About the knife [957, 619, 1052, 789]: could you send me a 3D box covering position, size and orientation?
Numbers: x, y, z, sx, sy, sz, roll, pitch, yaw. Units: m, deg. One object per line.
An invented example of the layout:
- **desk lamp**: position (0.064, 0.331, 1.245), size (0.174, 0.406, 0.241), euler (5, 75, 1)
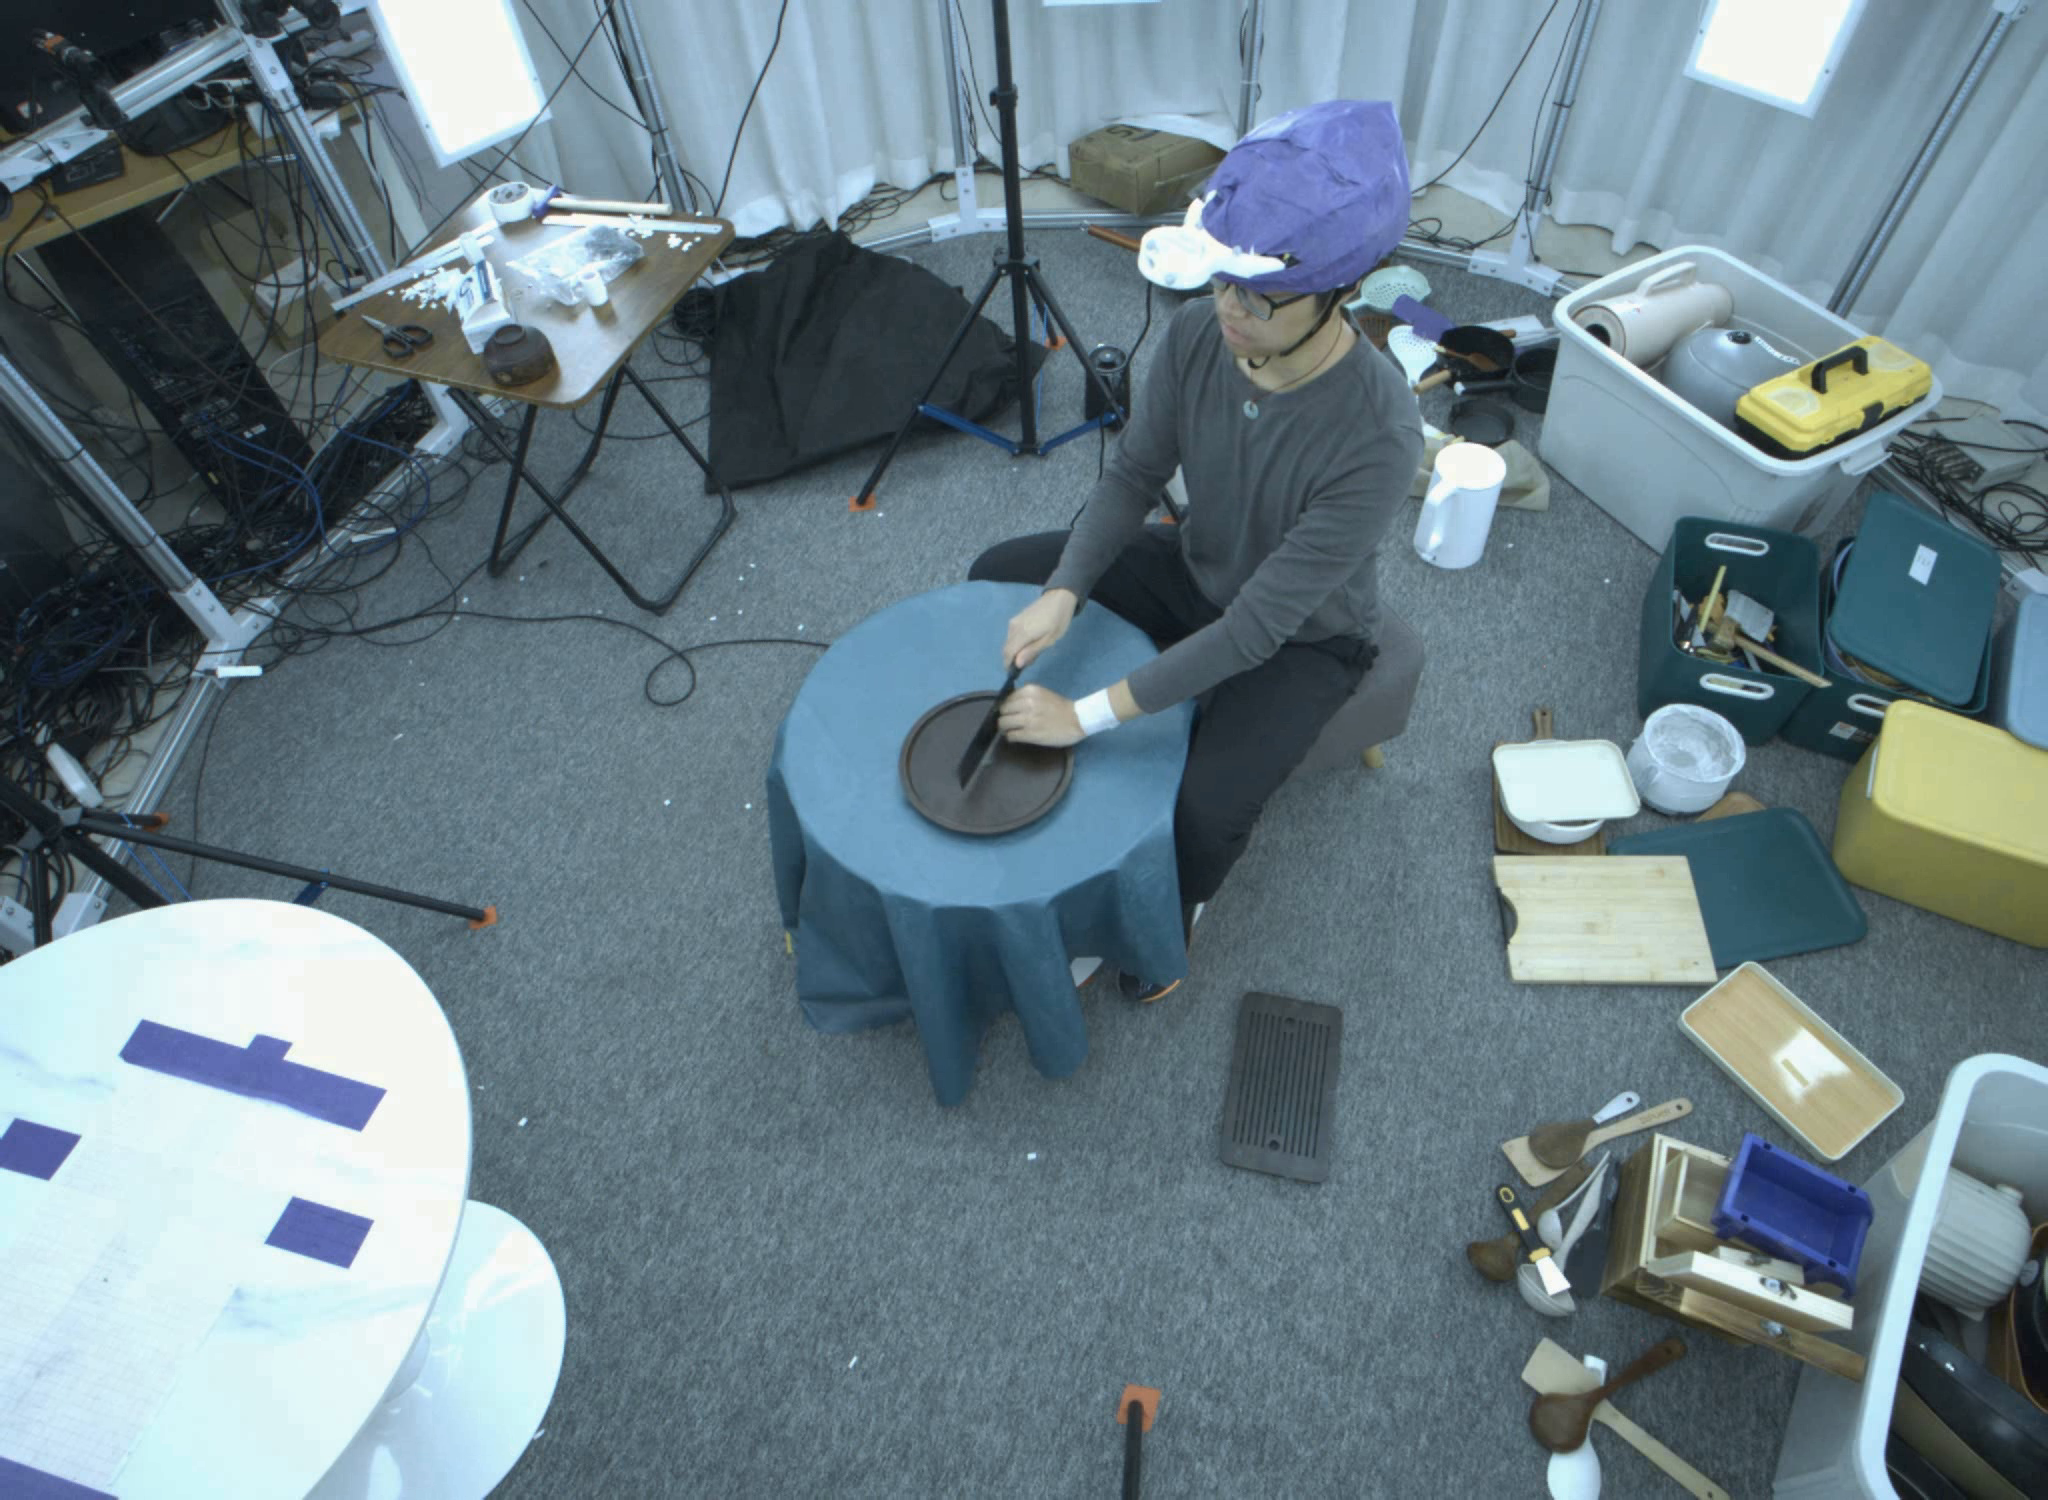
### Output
- **knife**: position (-0.028, -0.074, 1.775), size (0.020, 0.082, 0.302), euler (19, 62, 17)

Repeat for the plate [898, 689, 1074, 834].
- **plate**: position (-0.055, 0.015, 1.772), size (0.254, 0.029, 0.252), euler (-1, 54, 2)
